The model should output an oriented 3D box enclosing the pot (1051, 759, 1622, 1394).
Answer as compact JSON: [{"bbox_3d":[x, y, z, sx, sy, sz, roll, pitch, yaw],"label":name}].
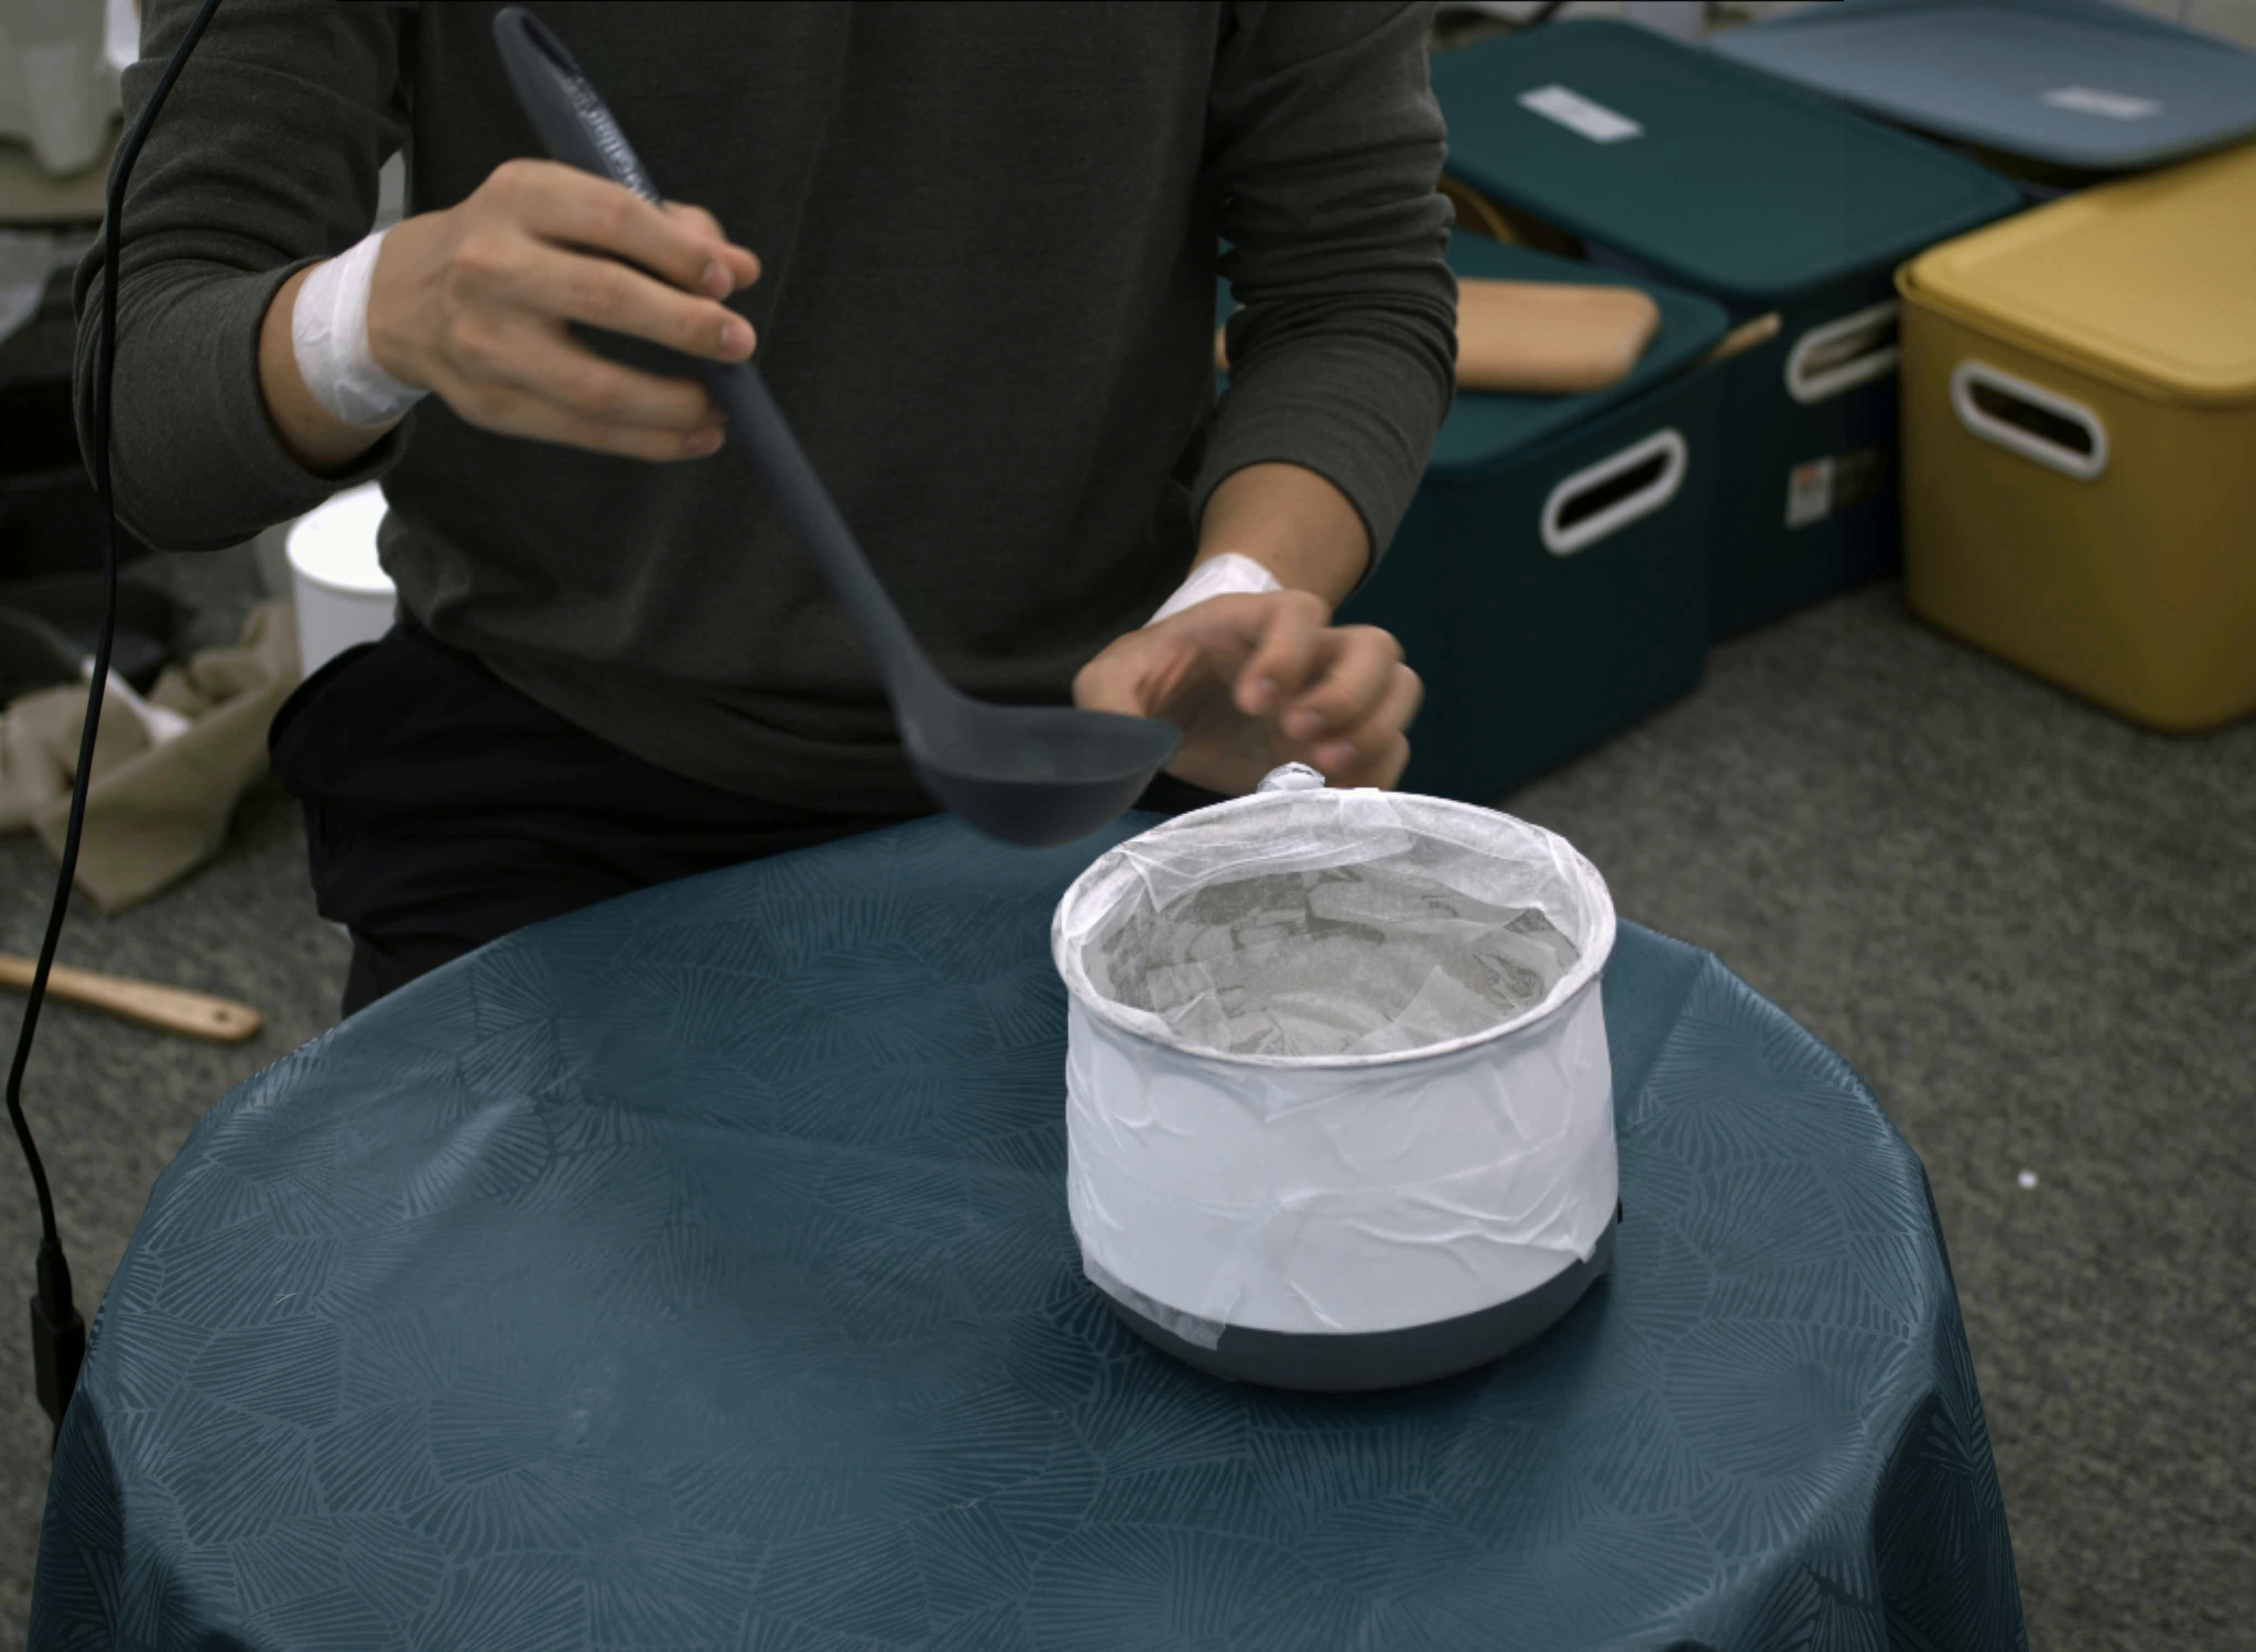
[{"bbox_3d":[0.064,0.072,1.803,0.178,0.135,0.237,-5,27,-5],"label":"pot"}]

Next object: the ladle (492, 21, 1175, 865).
[{"bbox_3d":[-0.096,-0.124,1.693,0.063,0.316,0.087,-37,-11,31],"label":"ladle"}]
